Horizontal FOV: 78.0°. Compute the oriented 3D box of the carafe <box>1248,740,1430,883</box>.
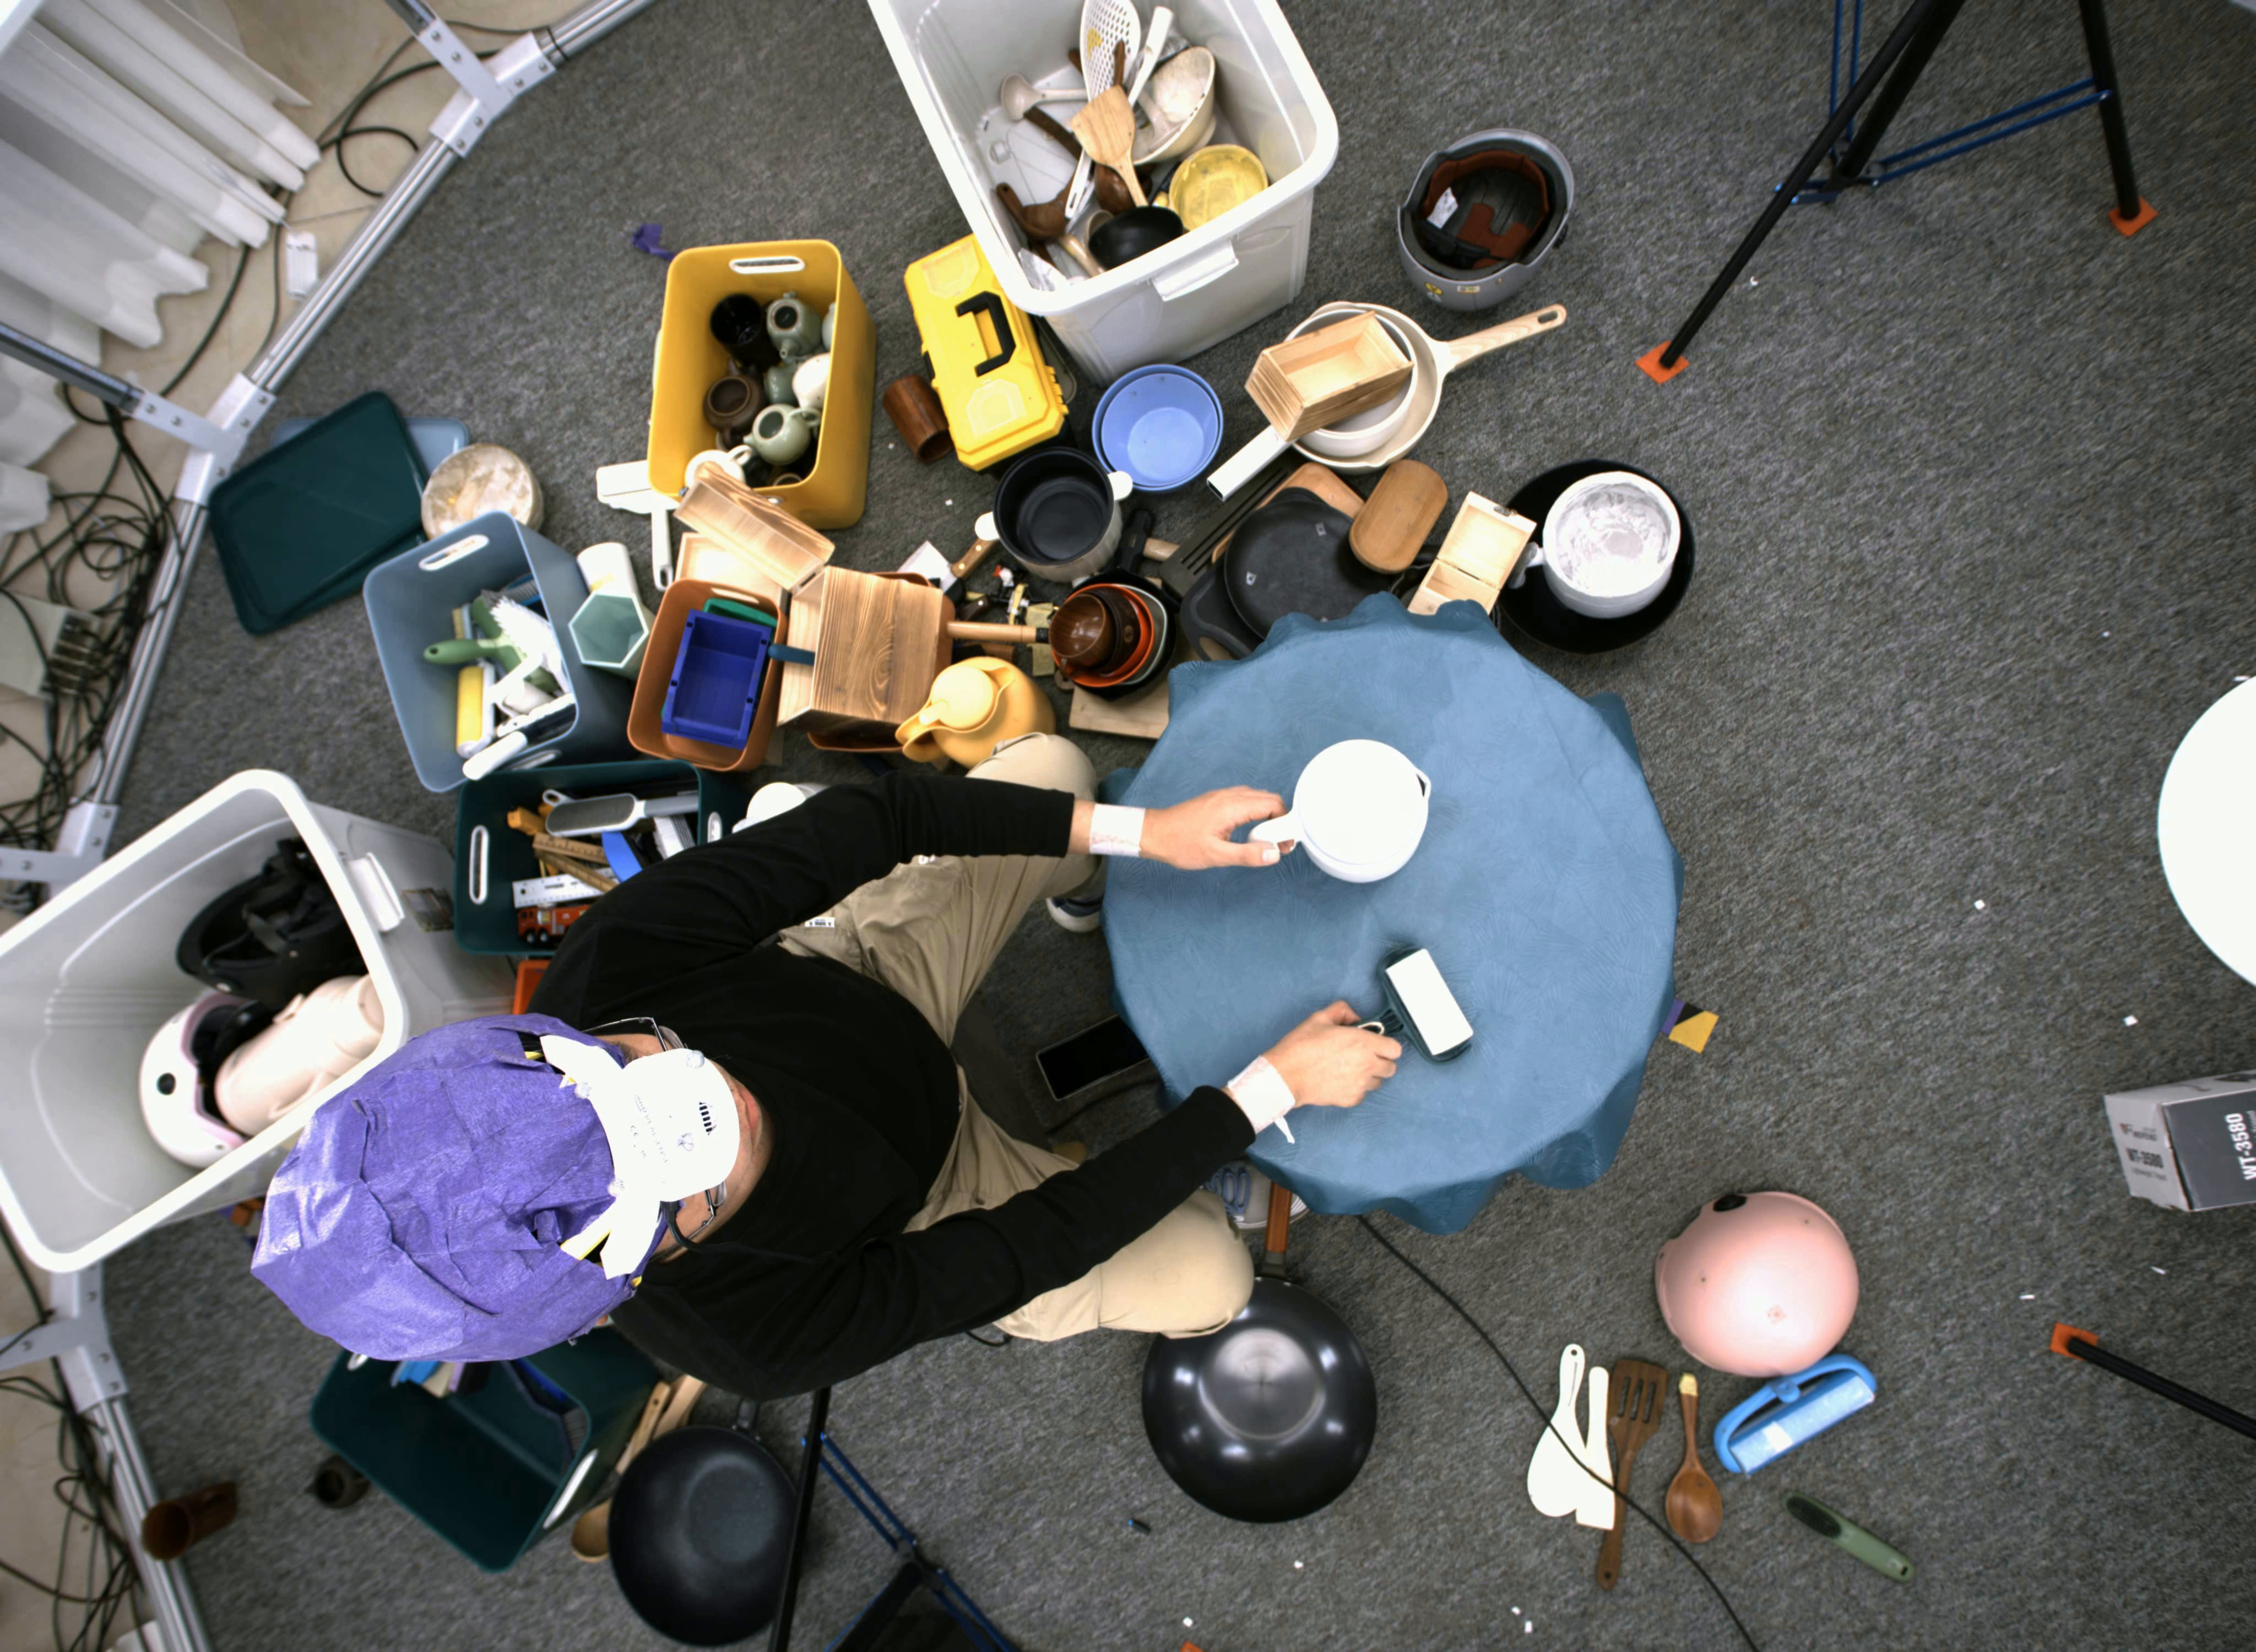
[{"bbox_3d":[0.210,-0.006,1.388,0.192,0.182,0.131,-19,81,10],"label":"carafe"}]

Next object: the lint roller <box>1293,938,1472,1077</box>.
[{"bbox_3d":[0.252,0.212,1.431,0.181,0.048,0.133,-27,83,8],"label":"lint roller"}]
